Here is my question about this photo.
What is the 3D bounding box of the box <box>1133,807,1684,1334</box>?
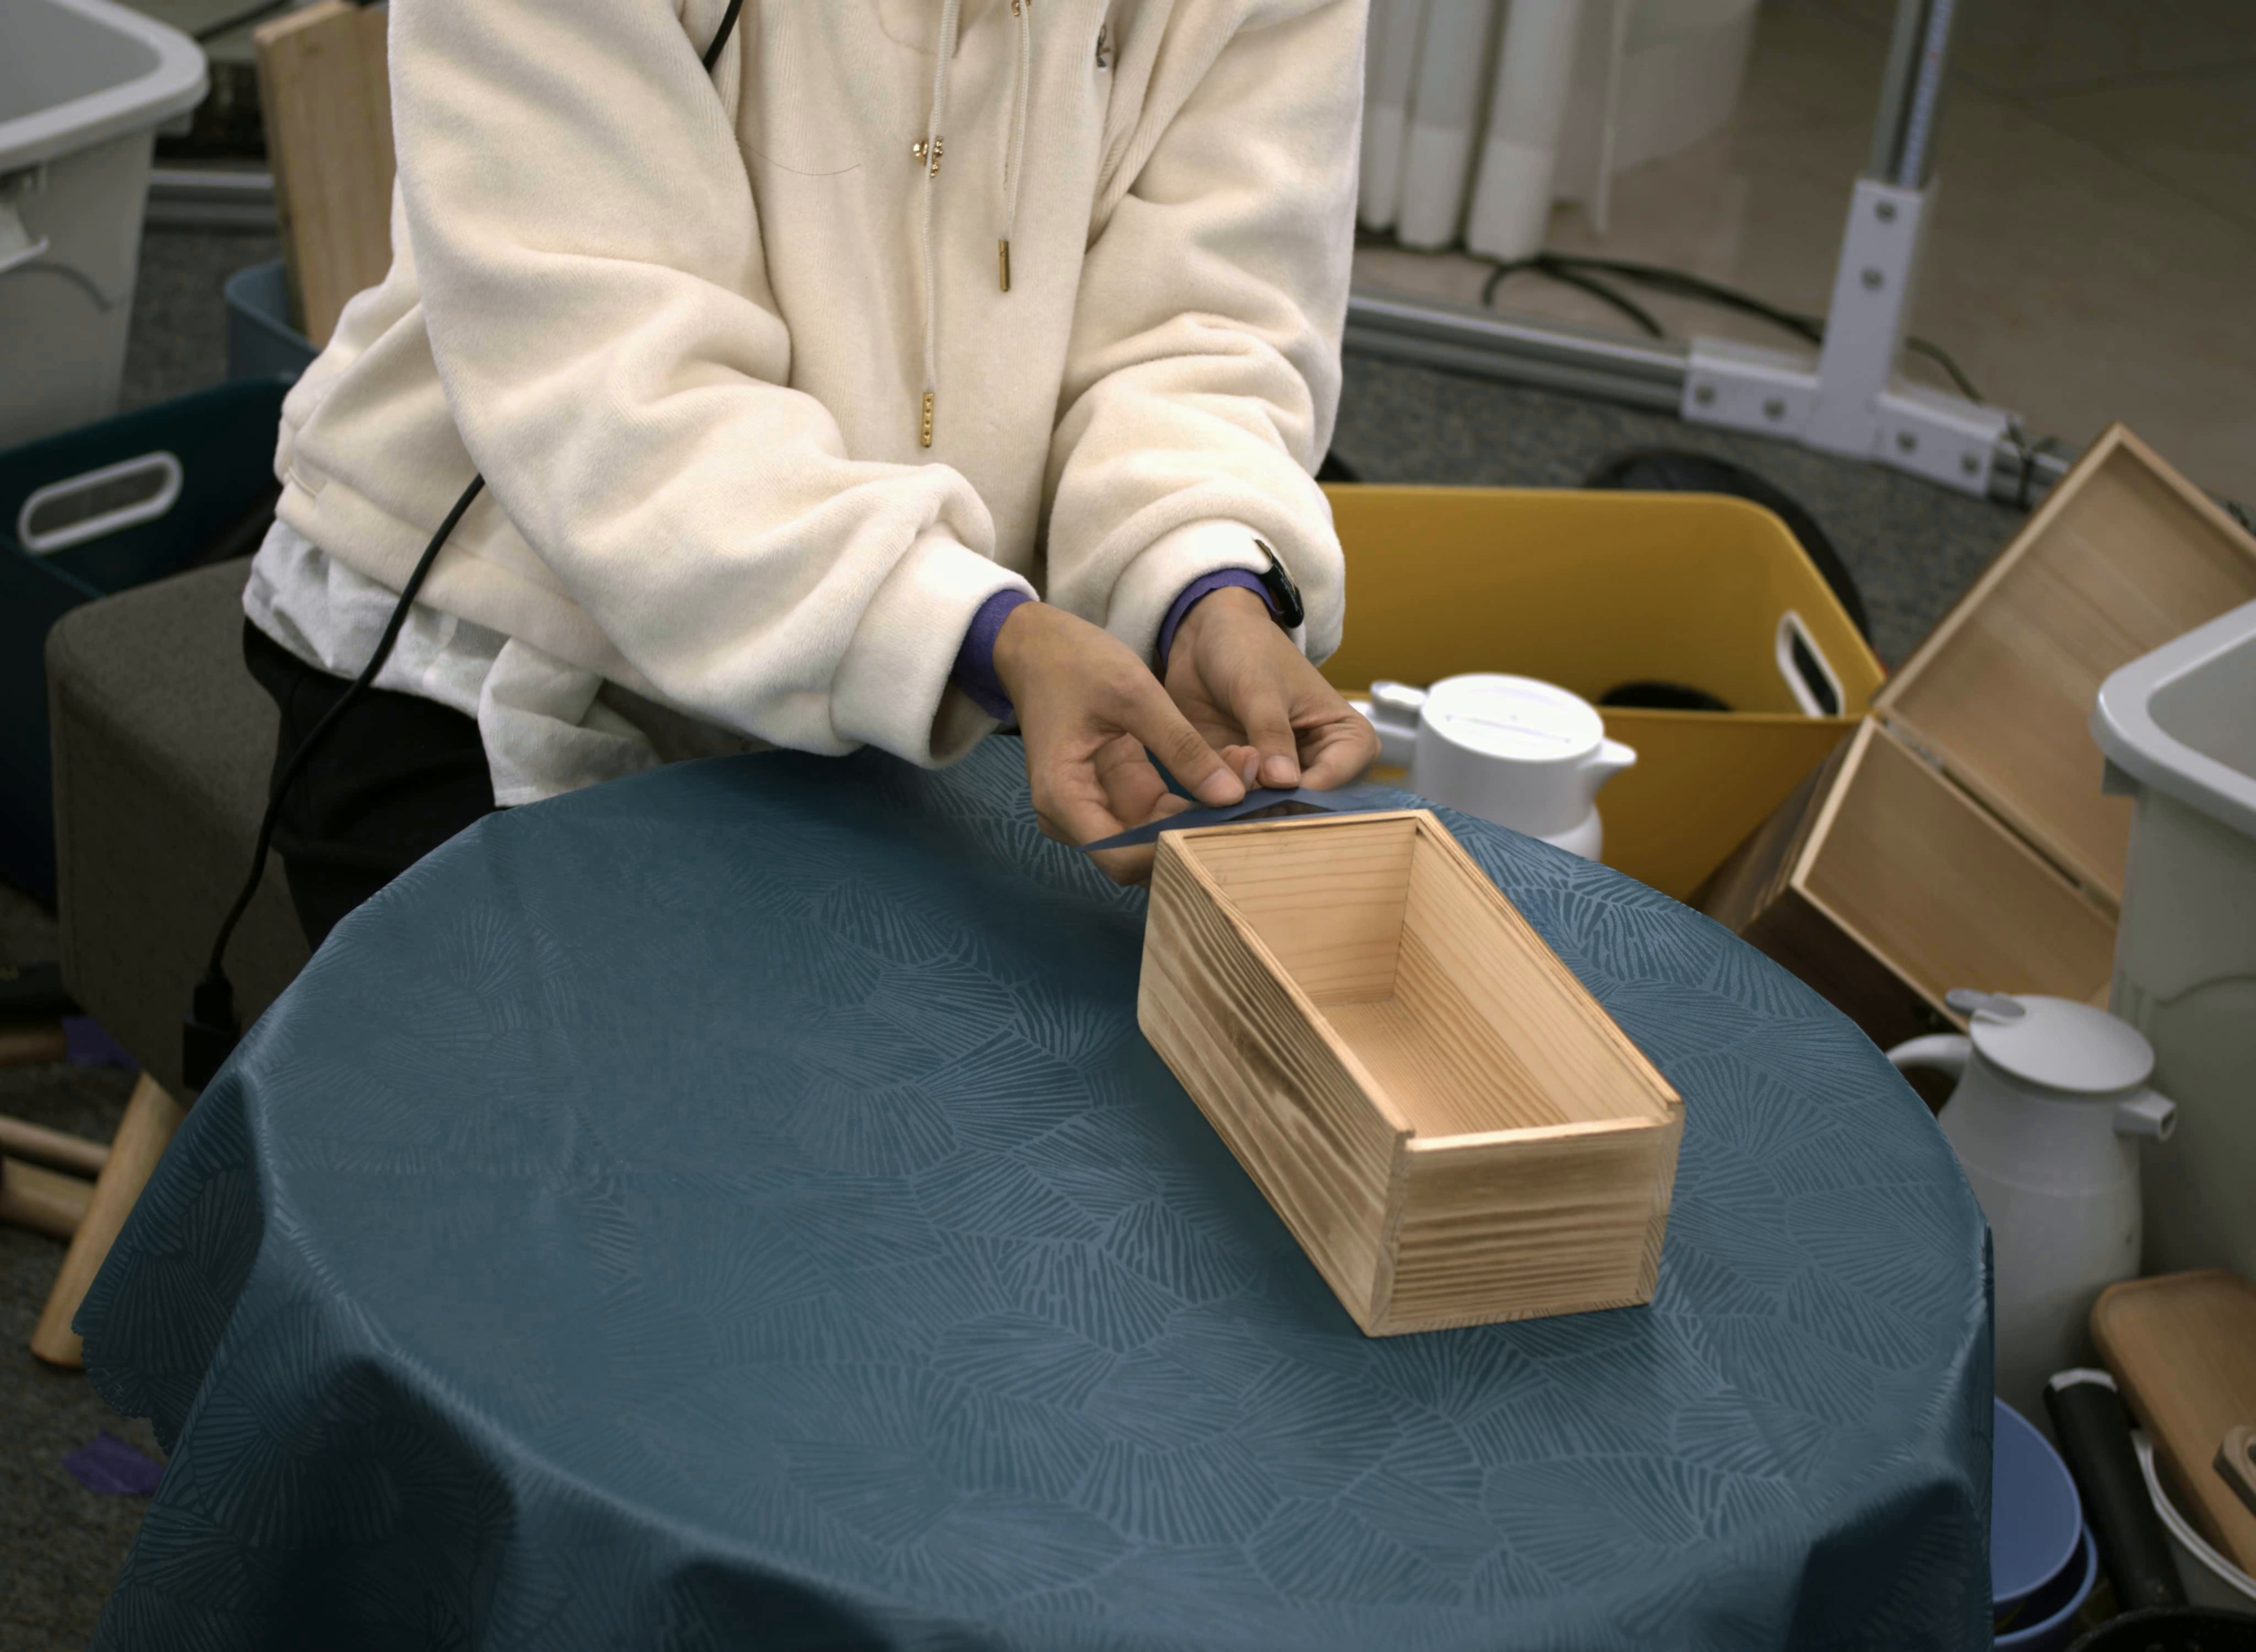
[{"bbox_3d":[0.092,0.080,1.821,0.107,0.080,0.213,-4,29,-22],"label":"box"}]

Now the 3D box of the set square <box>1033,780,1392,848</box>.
[{"bbox_3d":[0.024,-0.007,1.917,0.131,0.006,0.061,-5,17,-16],"label":"set square"}]
